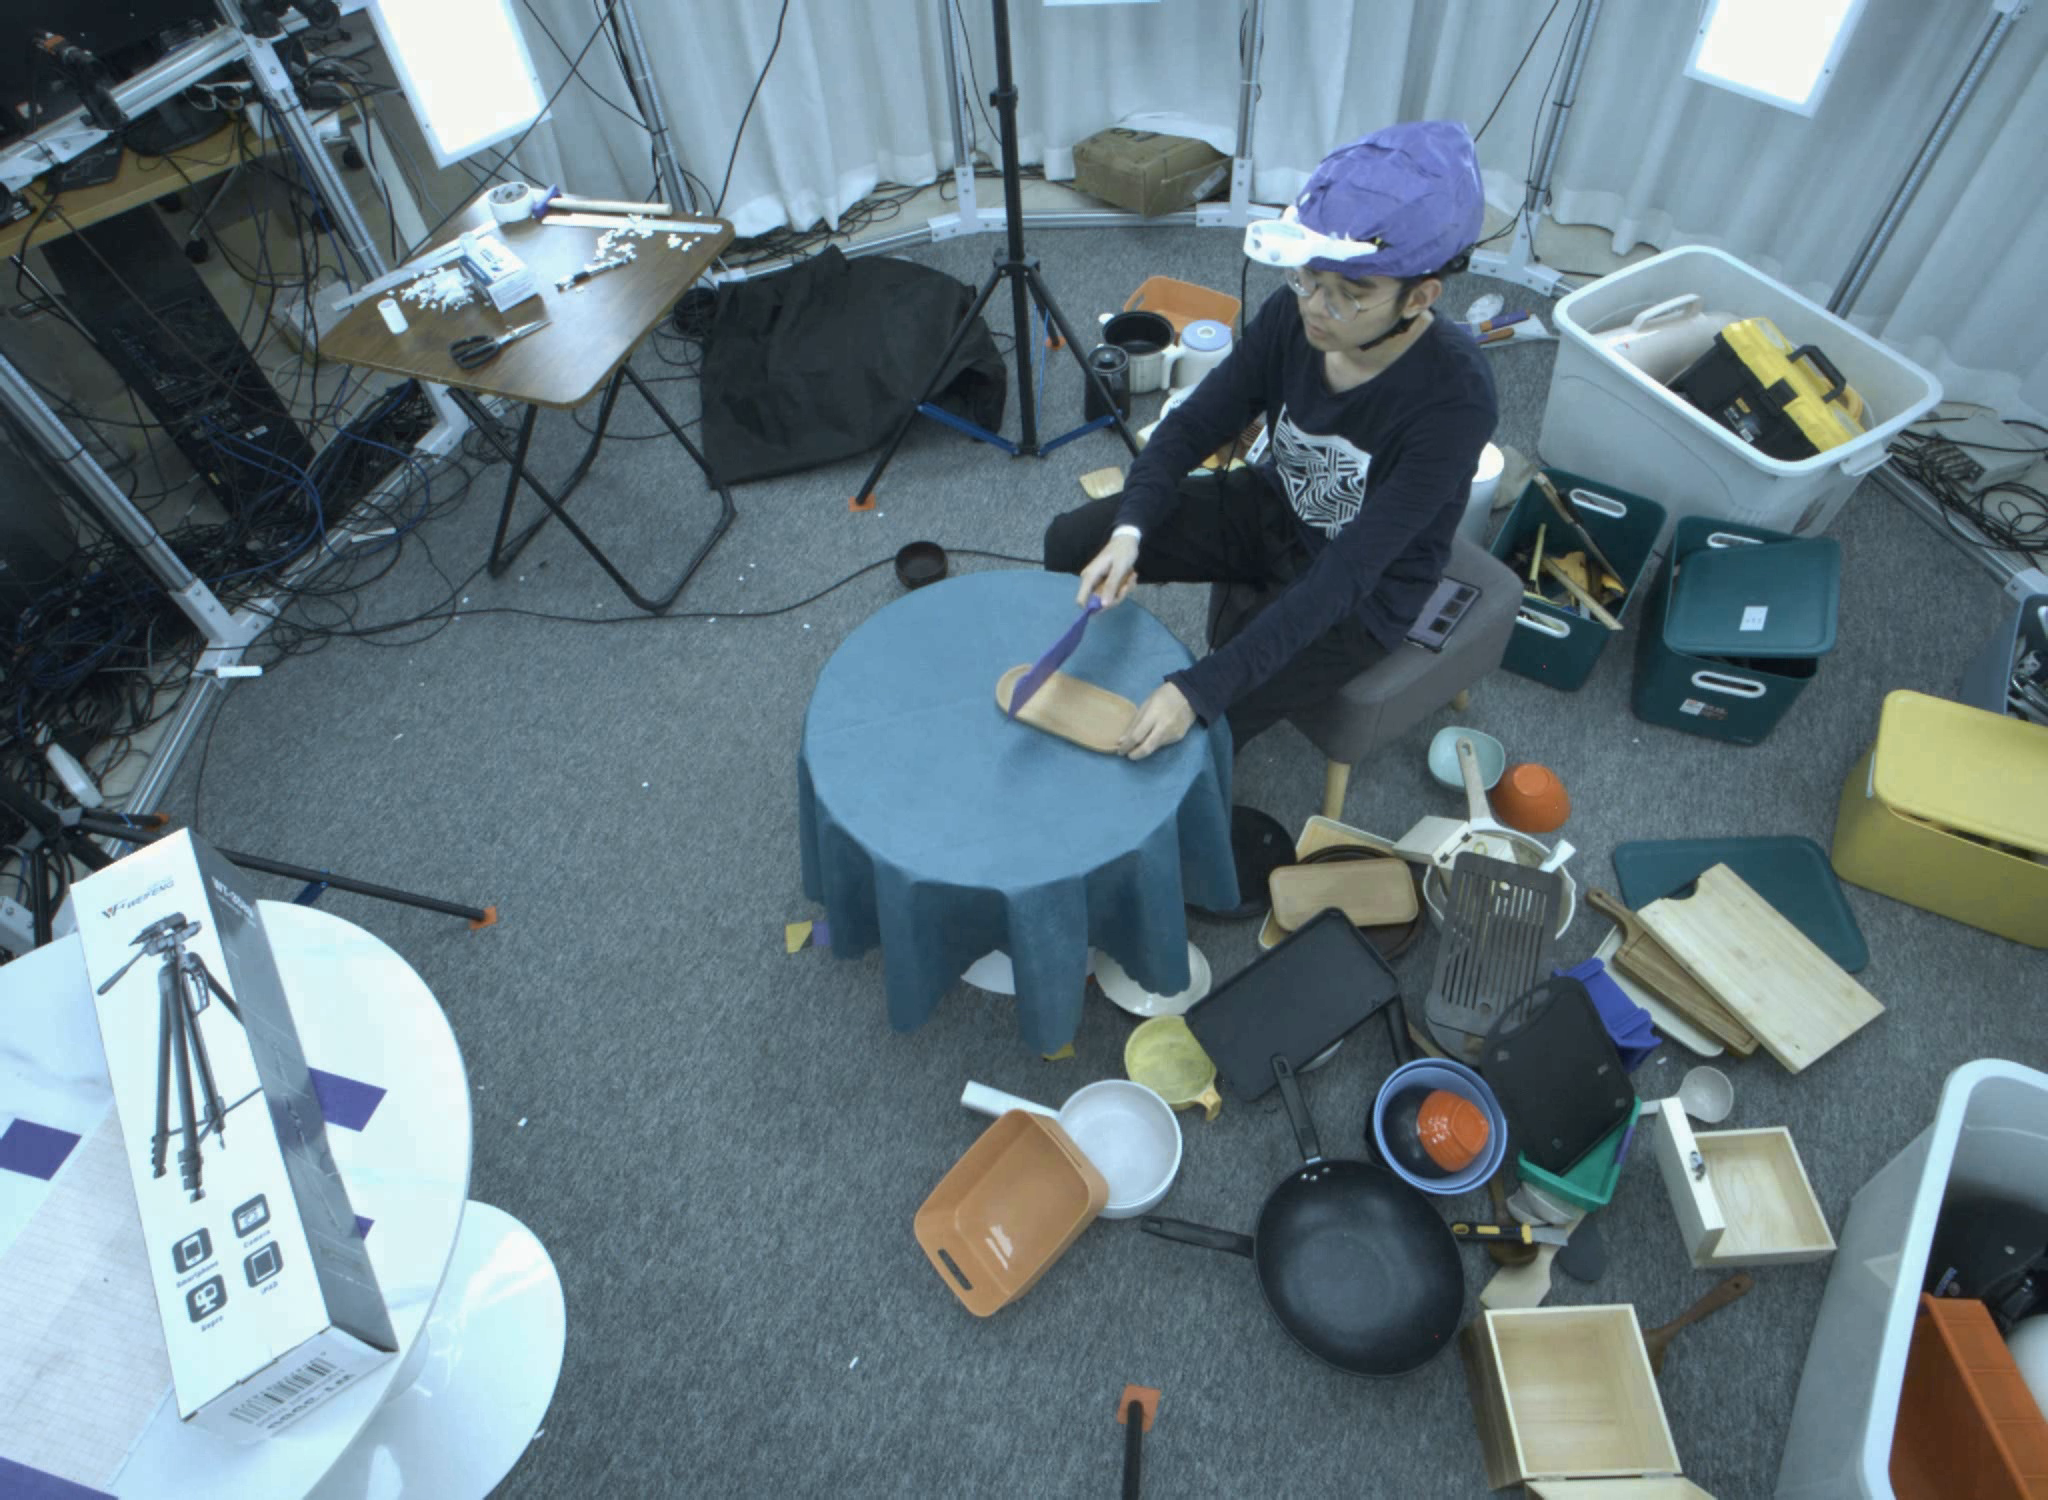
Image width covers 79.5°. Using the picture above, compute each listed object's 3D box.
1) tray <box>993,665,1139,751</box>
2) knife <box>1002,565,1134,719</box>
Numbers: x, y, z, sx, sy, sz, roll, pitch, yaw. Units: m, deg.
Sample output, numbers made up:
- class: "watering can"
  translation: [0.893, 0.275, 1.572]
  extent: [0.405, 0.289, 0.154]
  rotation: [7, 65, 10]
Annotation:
- class: "tray"
  translation: [0.061, -0.063, 1.829]
  extent: [0.228, 0.020, 0.102]
  rotation: [20, 56, 18]
- class: "knife"
  translation: [0.062, -0.162, 1.818]
  extent: [0.032, 0.104, 0.317]
  rotation: [36, 55, 12]
